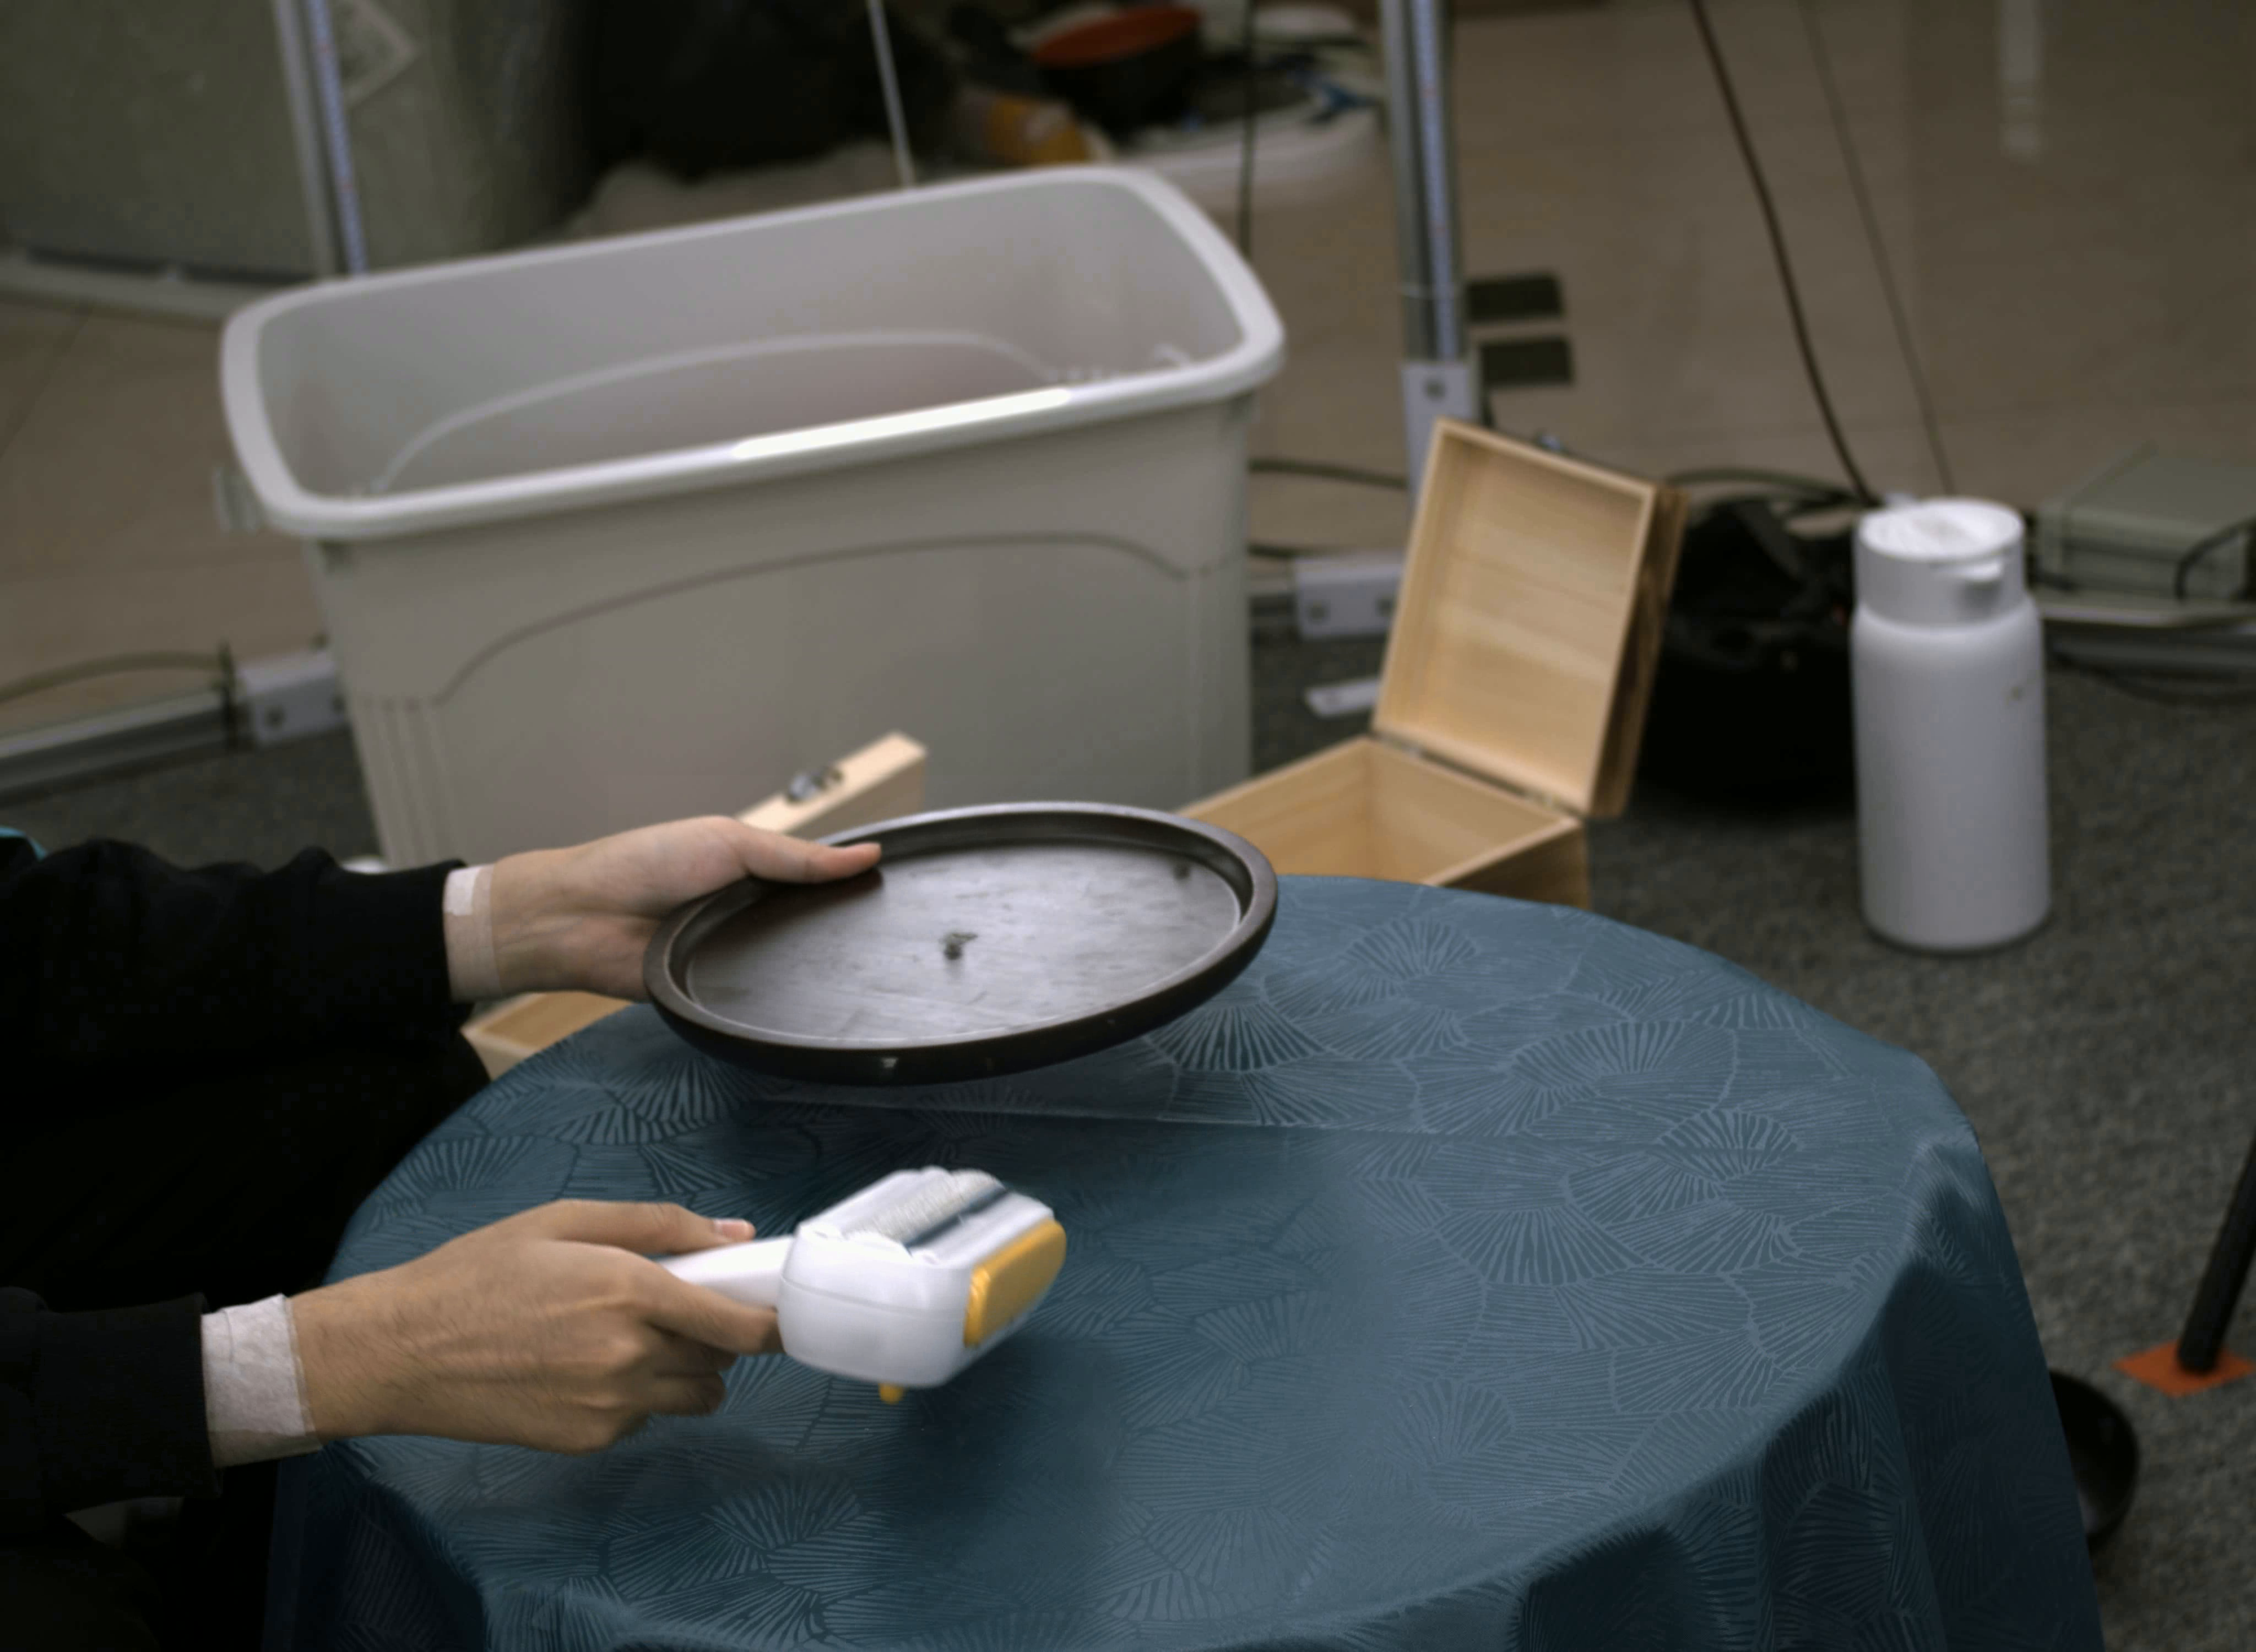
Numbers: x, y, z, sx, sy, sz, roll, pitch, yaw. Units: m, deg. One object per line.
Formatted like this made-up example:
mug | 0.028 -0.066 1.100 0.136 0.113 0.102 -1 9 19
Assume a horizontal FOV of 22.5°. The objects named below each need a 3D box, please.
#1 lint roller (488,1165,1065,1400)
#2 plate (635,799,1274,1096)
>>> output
lint roller | -0.132 0.158 1.973 0.192 0.075 0.192 2 8 15
plate | -0.067 0.046 2.221 0.254 0.029 0.251 -8 22 3
